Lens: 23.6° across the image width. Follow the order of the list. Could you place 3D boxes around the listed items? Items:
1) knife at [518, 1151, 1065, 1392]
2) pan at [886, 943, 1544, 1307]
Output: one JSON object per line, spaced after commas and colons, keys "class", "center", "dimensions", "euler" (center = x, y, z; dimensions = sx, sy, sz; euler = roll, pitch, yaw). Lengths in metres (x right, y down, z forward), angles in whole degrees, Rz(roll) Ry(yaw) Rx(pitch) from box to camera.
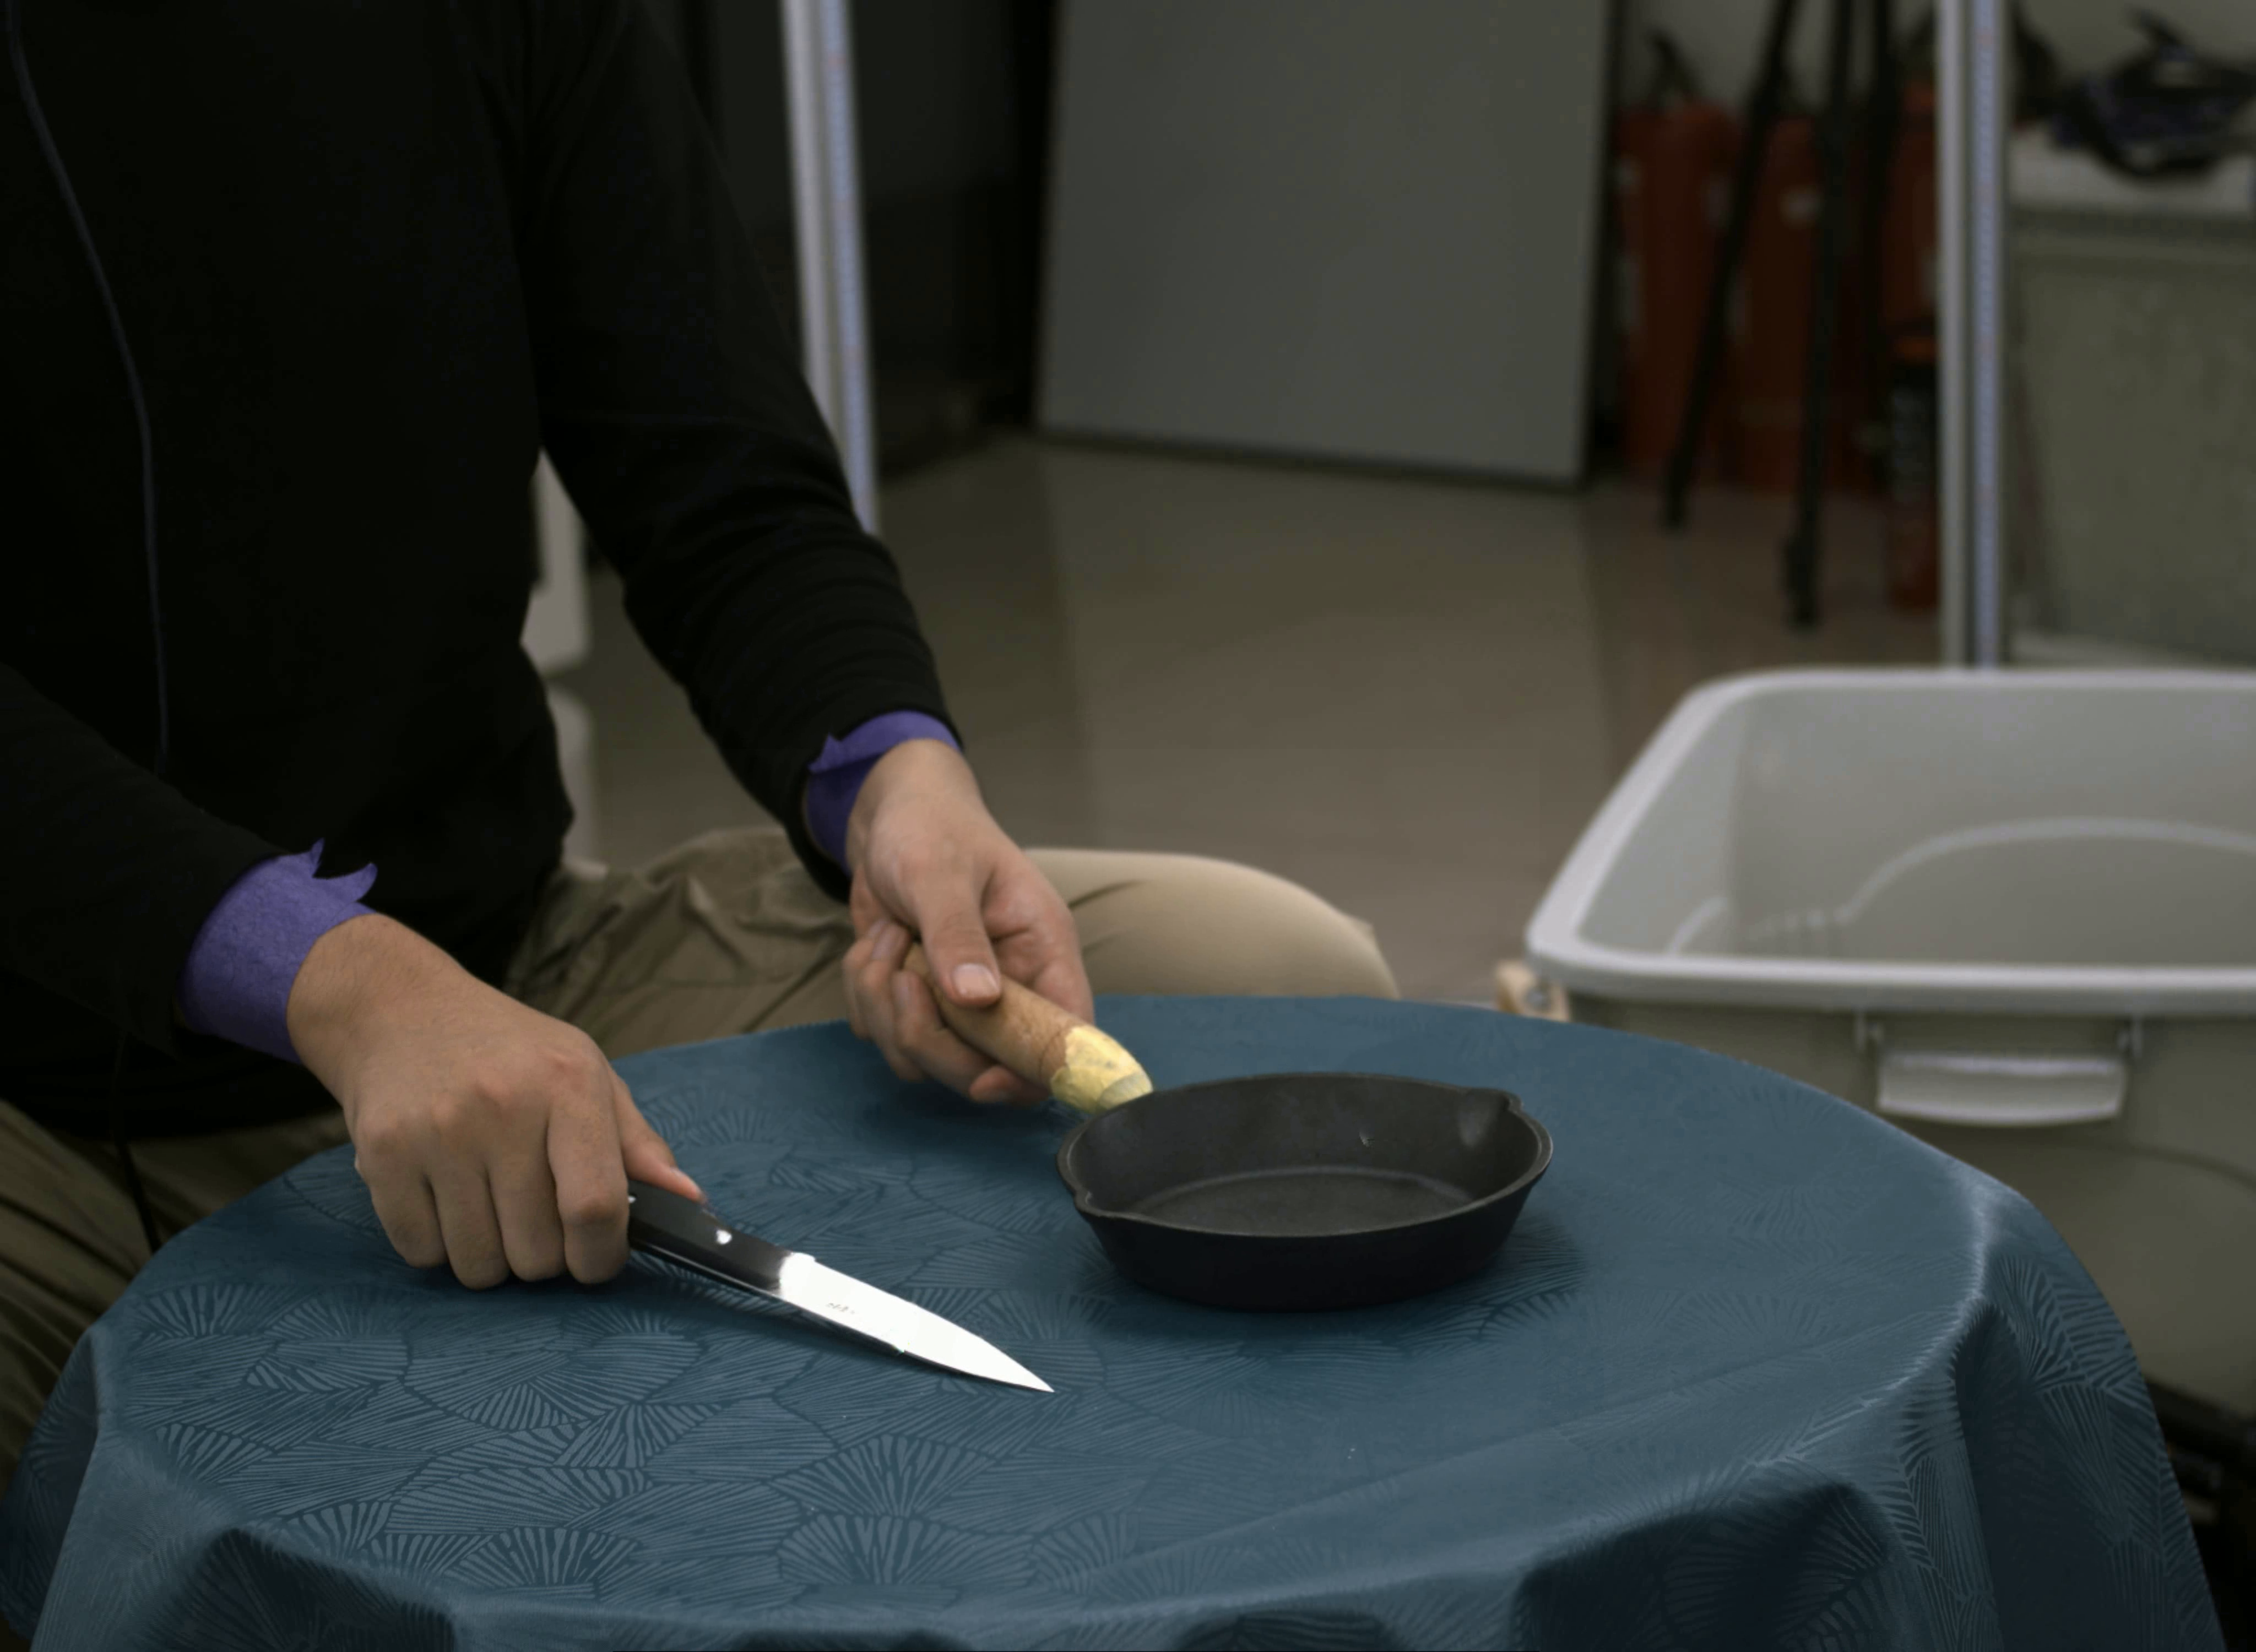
{"class": "knife", "center": [-0.108, 0.140, 1.670], "dimensions": [0.240, 0.016, 0.024], "euler": [17, 37, 40]}
{"class": "pan", "center": [0.010, 0.094, 1.768], "dimensions": [0.165, 0.050, 0.328], "euler": [-12, 17, -30]}
